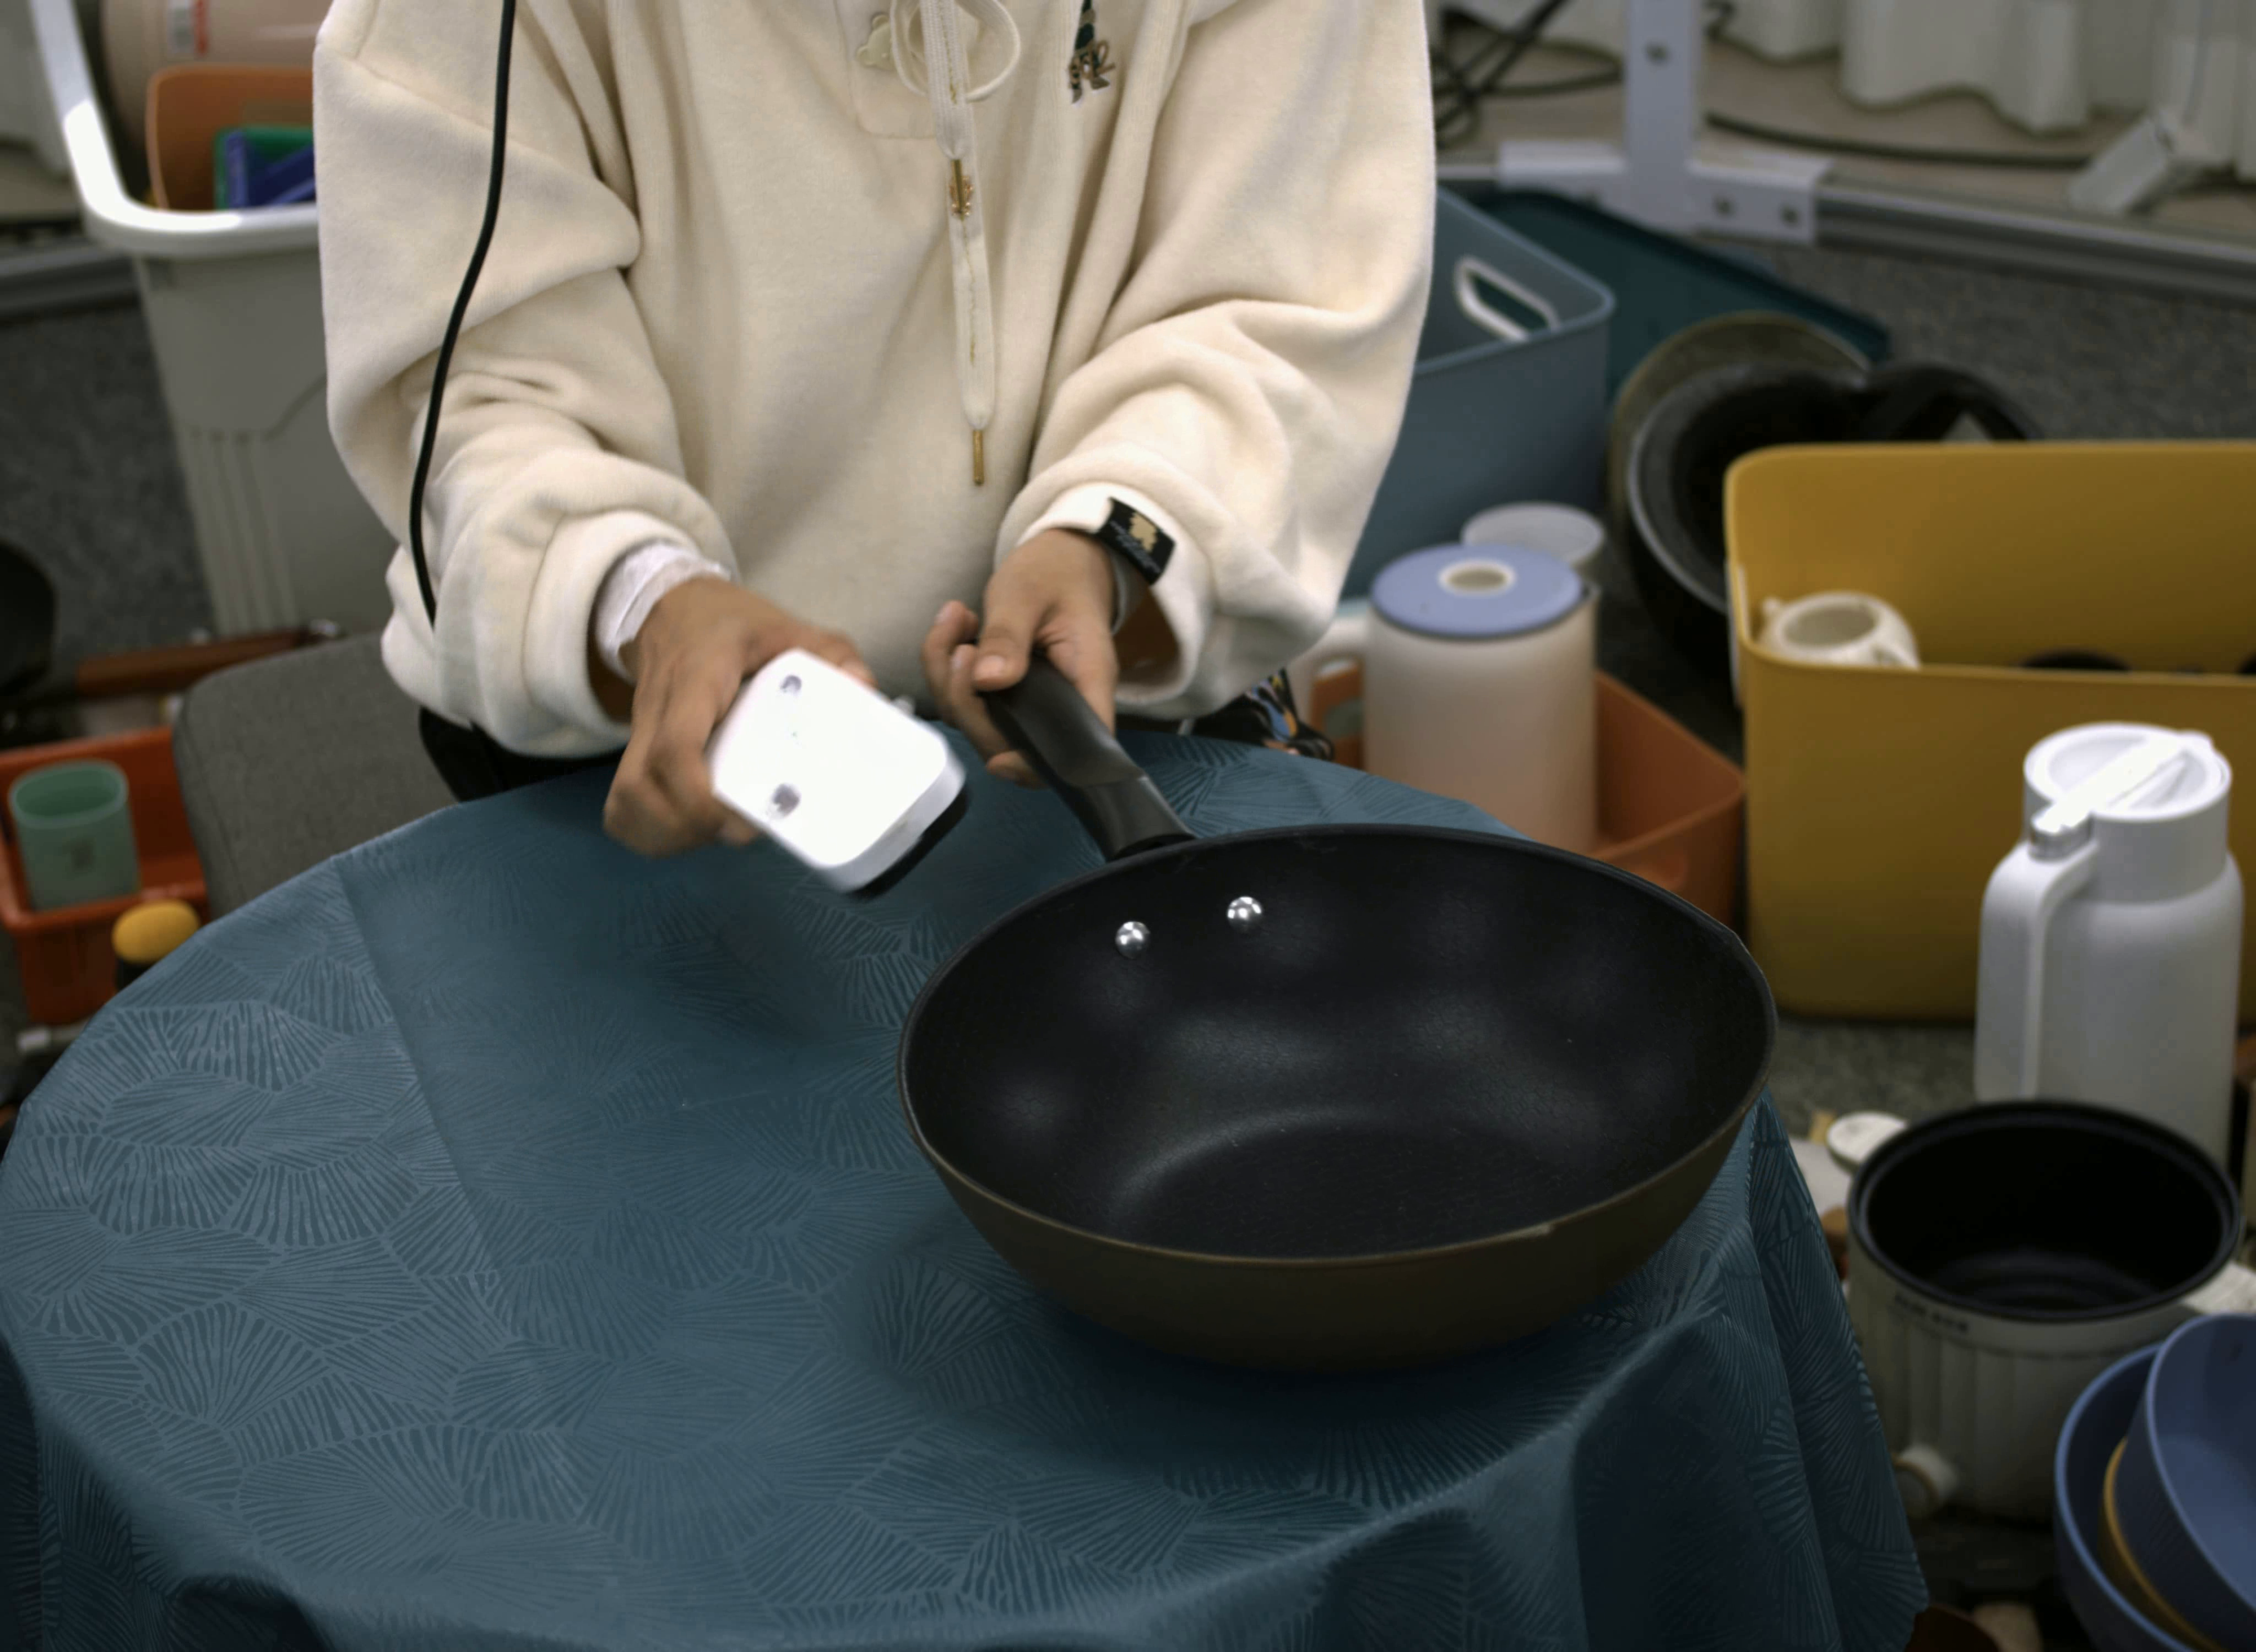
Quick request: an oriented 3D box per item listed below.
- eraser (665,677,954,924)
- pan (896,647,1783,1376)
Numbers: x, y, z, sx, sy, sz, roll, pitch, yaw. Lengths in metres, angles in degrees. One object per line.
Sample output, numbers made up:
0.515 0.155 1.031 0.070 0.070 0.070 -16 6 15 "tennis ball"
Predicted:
-0.110 -0.012 1.945 0.064 0.034 0.131 -42 33 -10 "eraser"
0.036 0.062 1.884 0.289 0.086 0.467 -11 27 -17 "pan"
